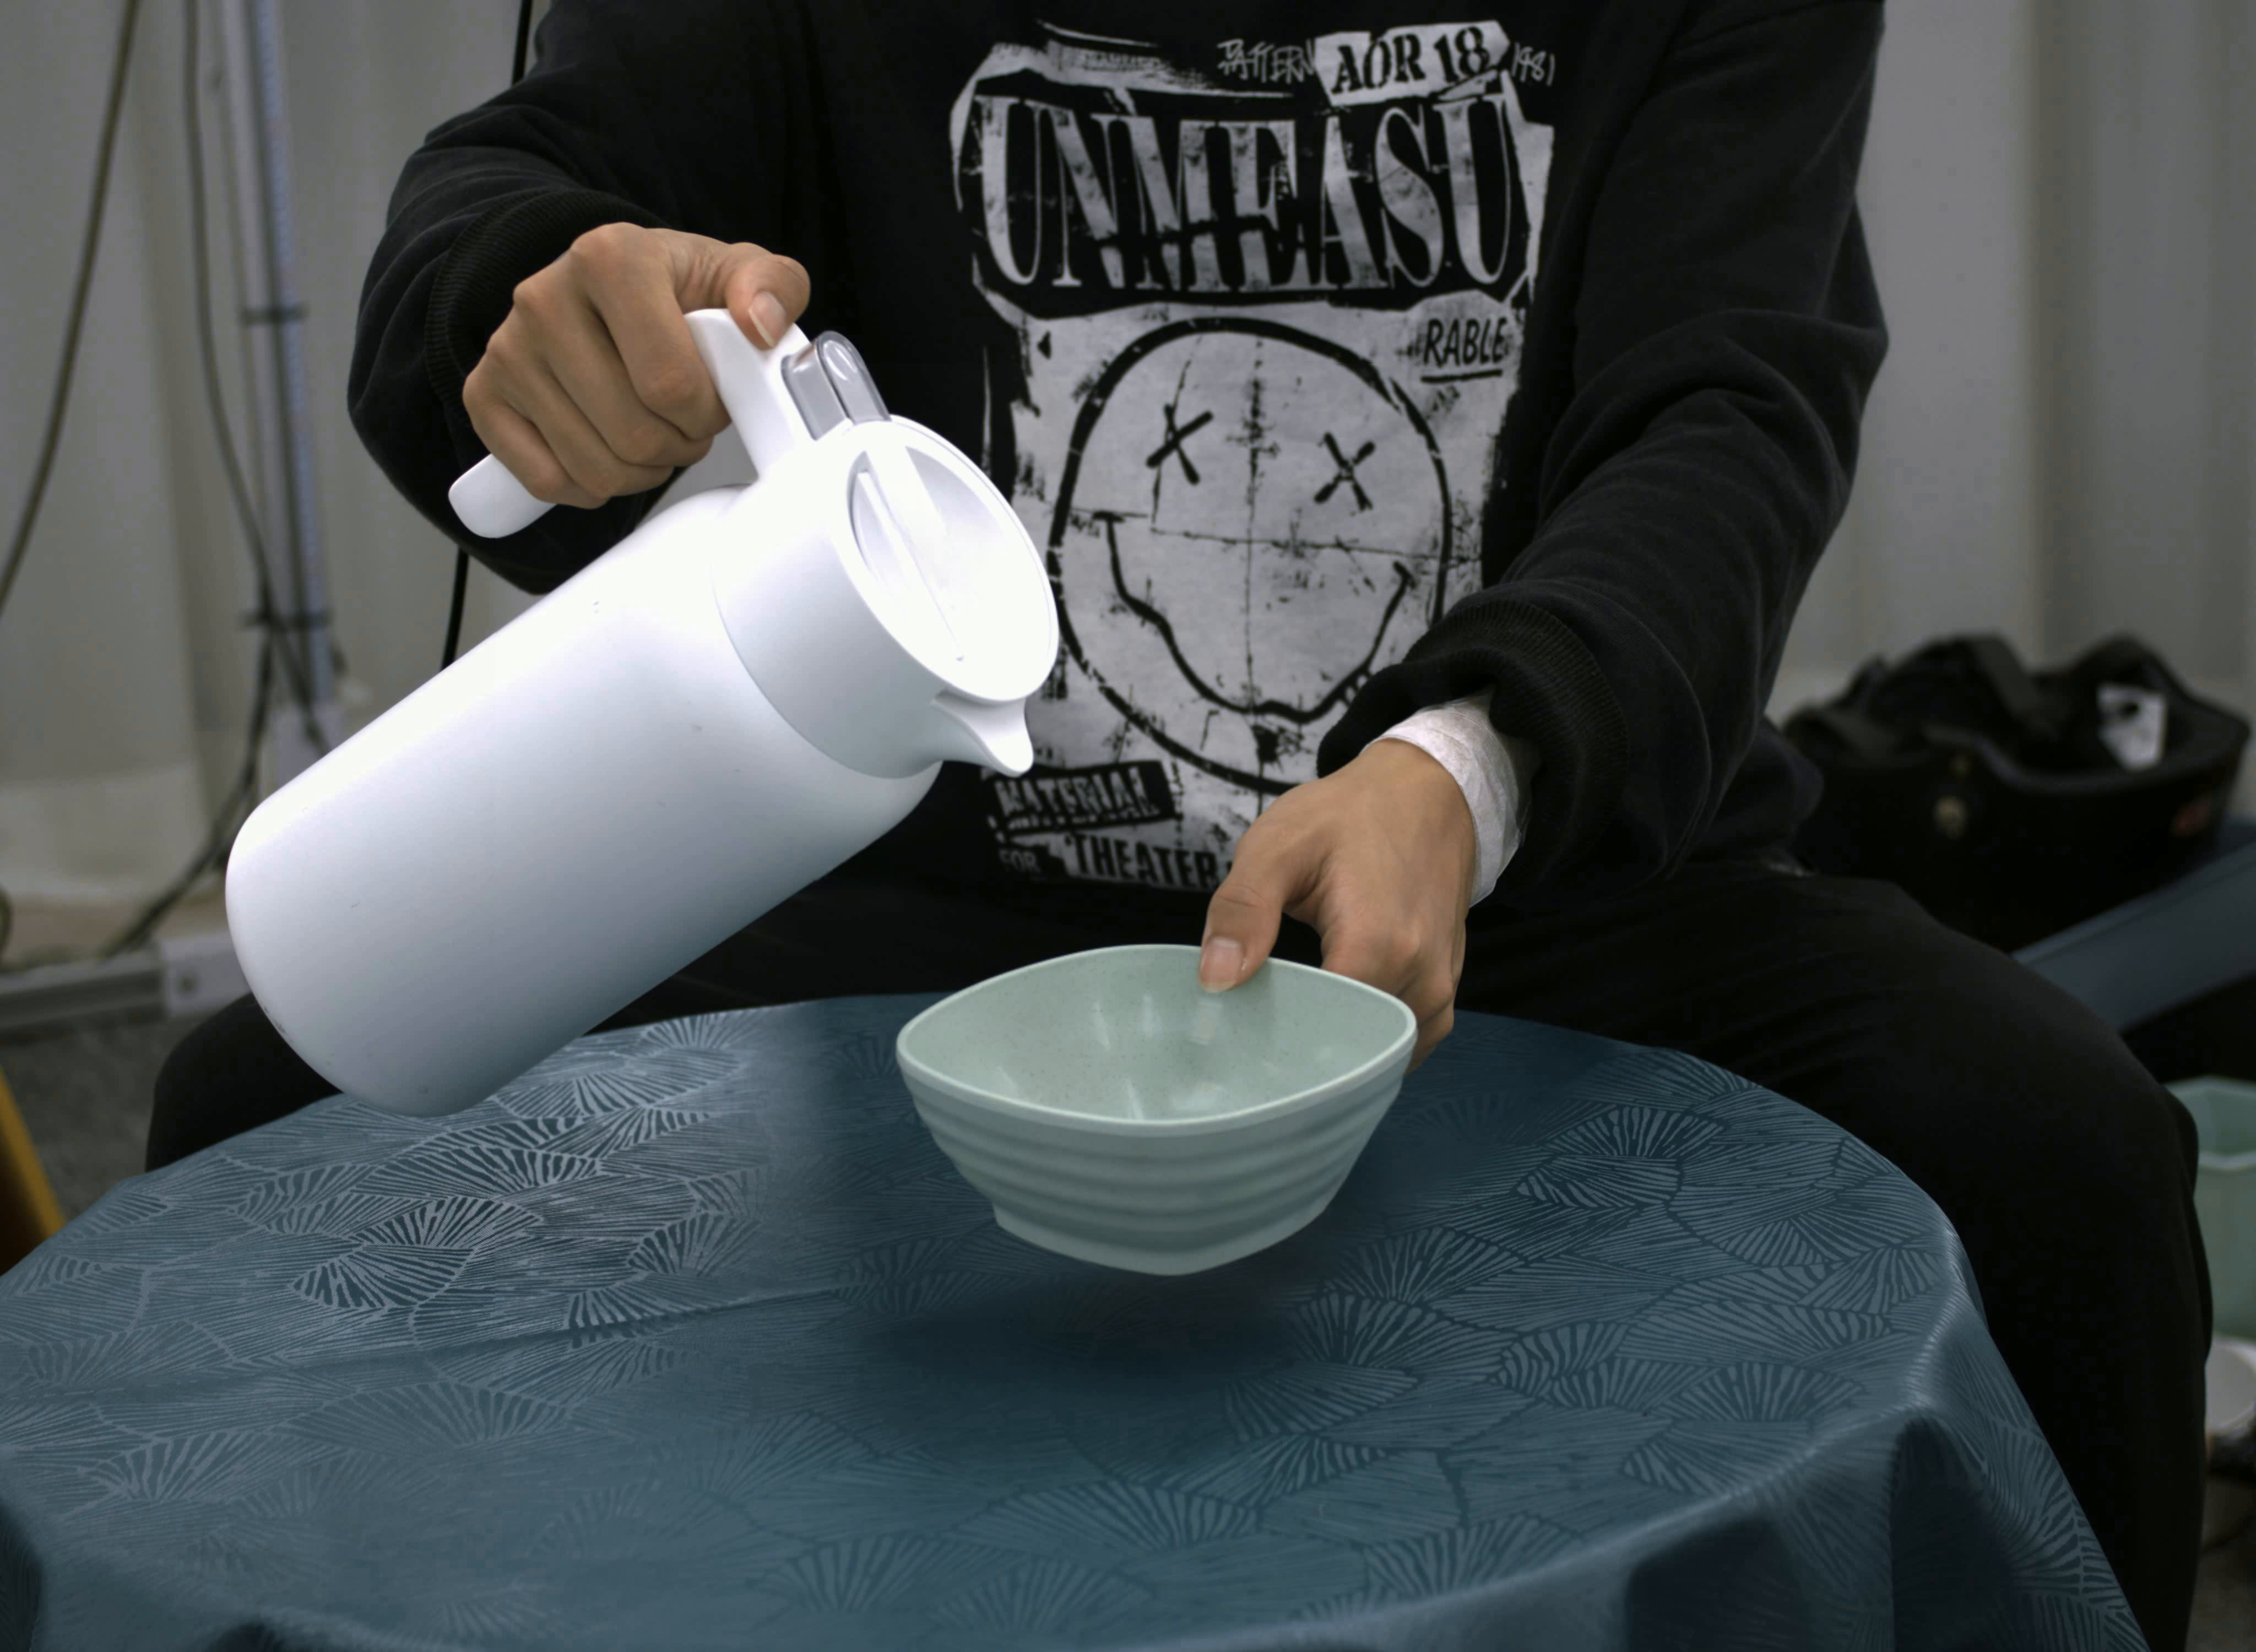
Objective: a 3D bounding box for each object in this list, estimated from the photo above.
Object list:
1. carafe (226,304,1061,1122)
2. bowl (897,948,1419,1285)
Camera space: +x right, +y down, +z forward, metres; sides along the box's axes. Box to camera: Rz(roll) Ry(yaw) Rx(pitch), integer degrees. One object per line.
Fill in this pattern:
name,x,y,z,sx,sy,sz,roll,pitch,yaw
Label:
carafe,-0.157,-0.033,1.662,0.267,0.174,0.123,-34,-11,32
bowl,0.009,0.087,1.584,0.151,0.058,0.152,-1,18,0
